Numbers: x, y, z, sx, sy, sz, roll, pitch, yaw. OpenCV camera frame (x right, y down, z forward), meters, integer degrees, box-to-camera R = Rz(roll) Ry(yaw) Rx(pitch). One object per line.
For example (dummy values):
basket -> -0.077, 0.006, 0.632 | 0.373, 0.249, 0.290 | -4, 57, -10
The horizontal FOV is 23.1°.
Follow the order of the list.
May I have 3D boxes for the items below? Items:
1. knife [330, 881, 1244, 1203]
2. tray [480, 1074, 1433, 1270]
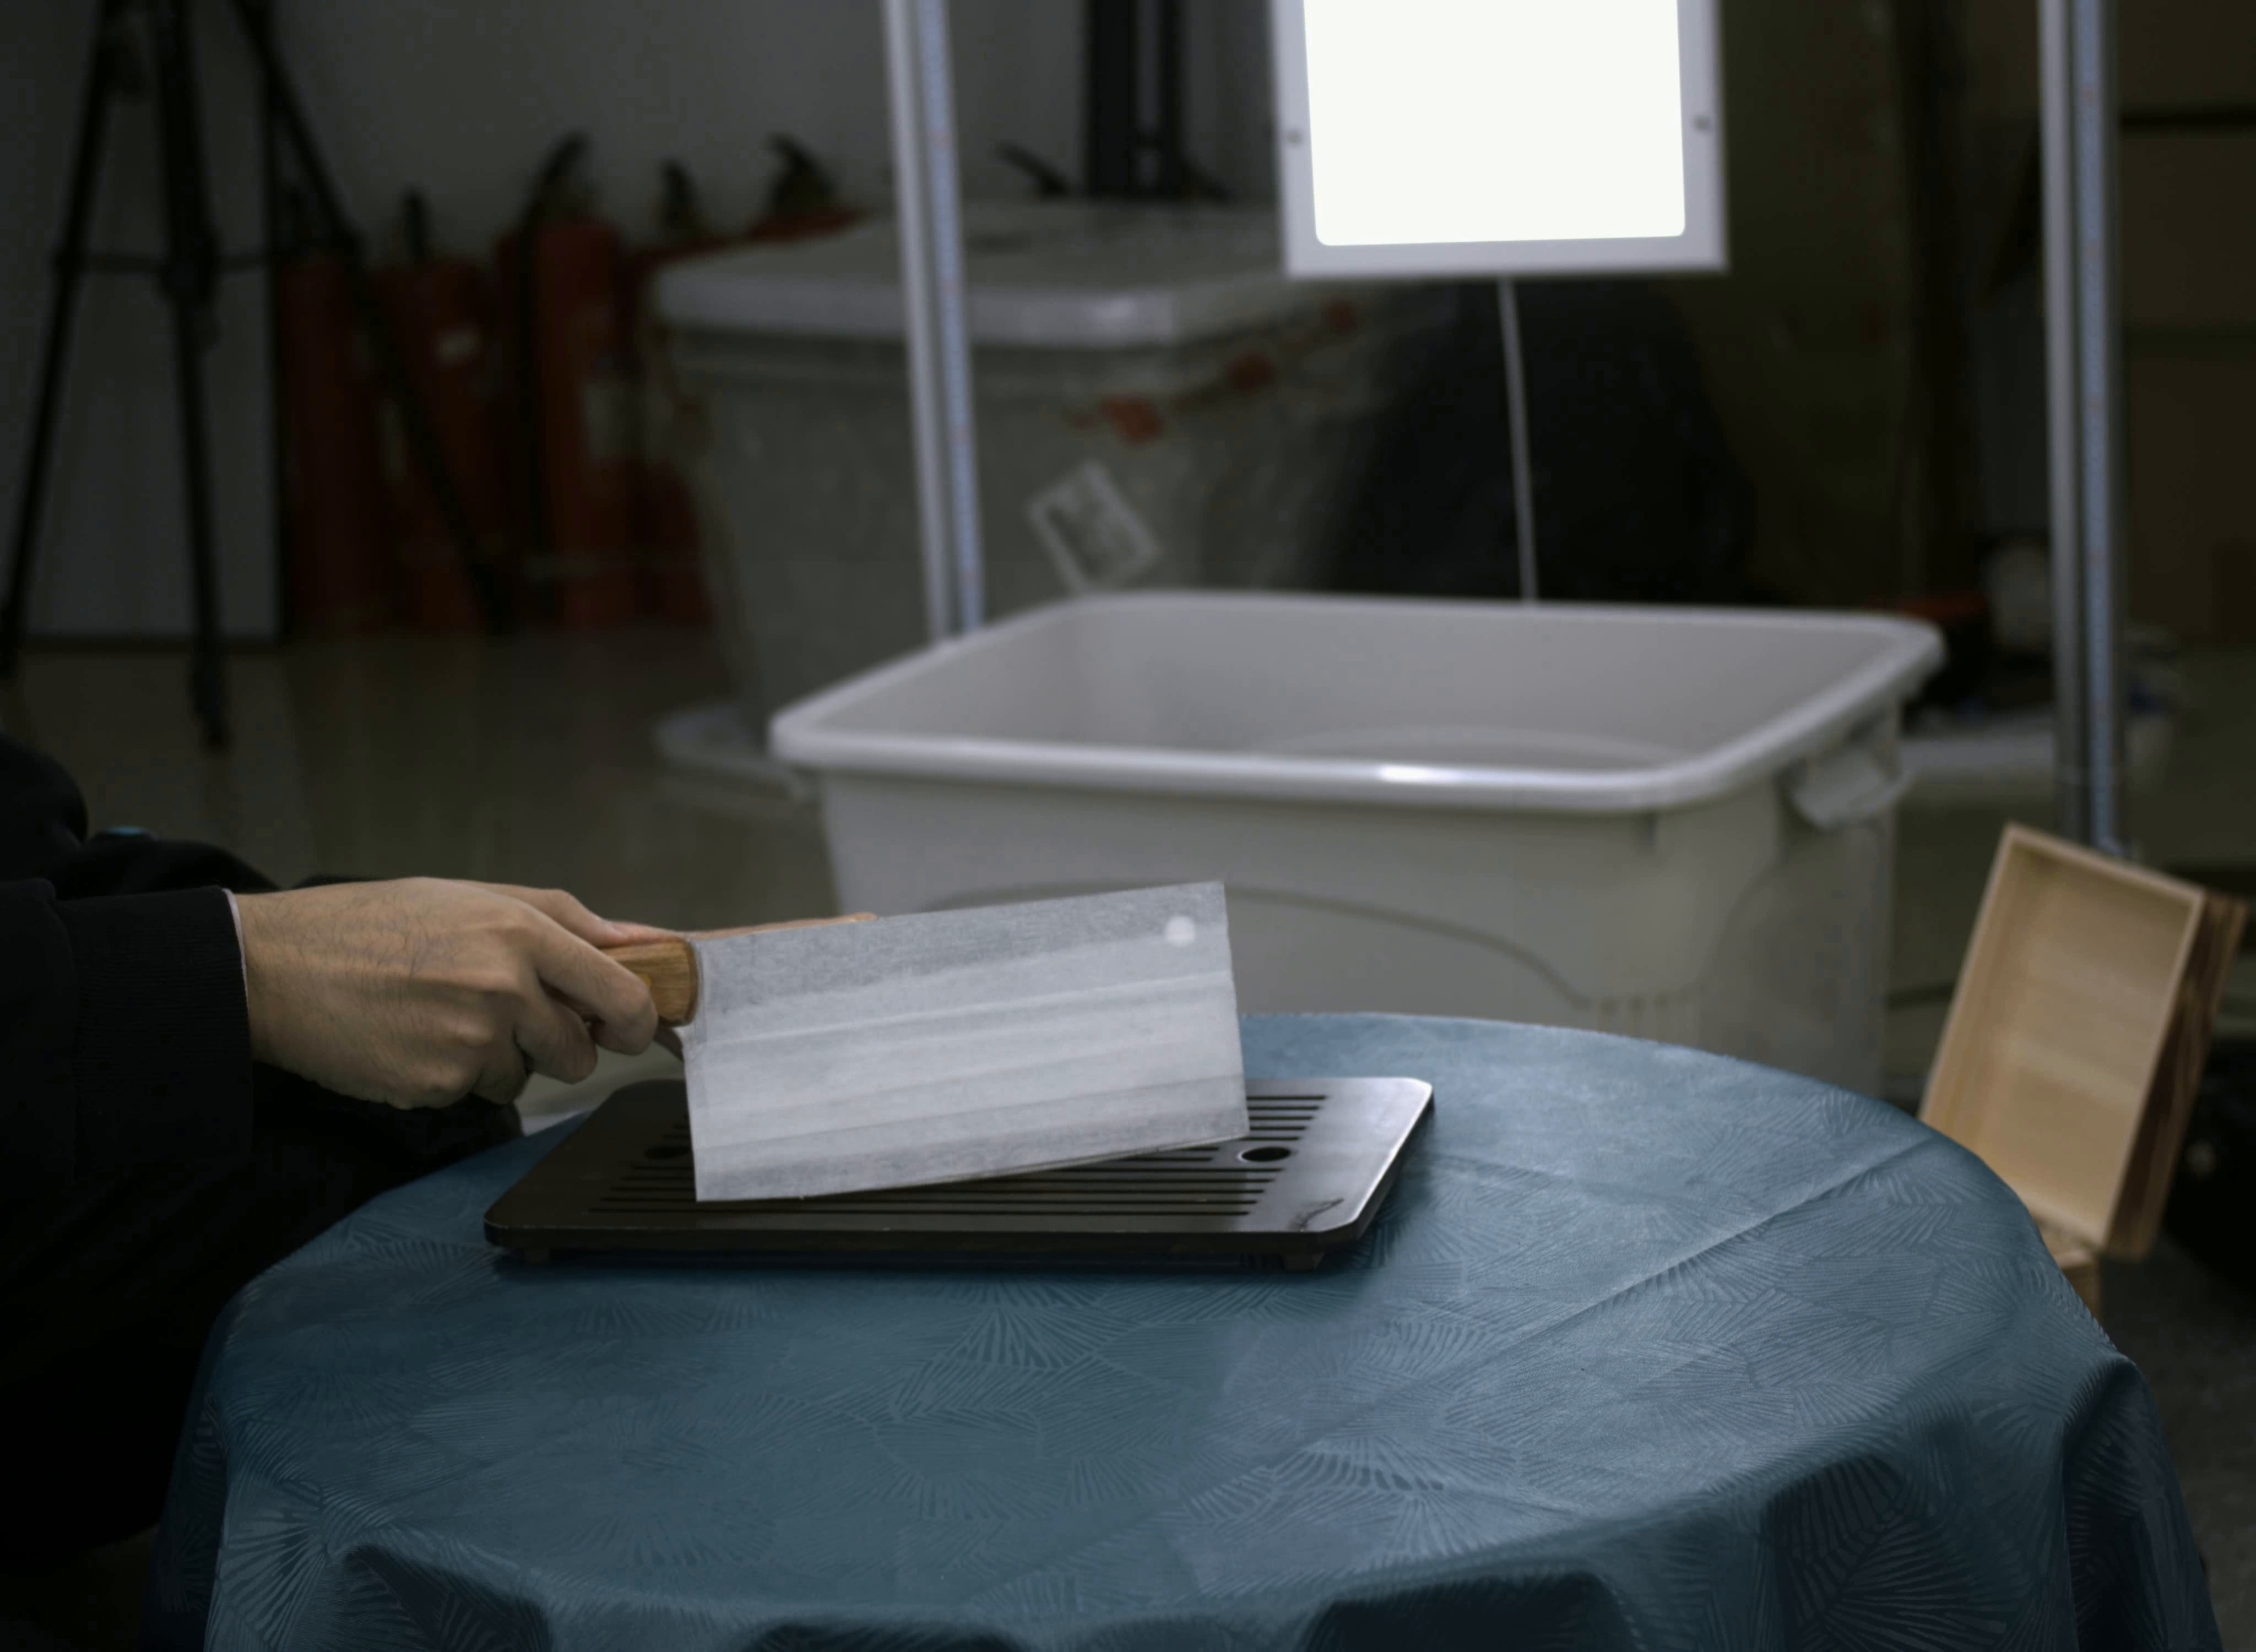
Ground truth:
knife -> -0.113, 0.078, 1.859 | 0.304, 0.093, 0.021 | -6, 4, -2
tray -> -0.056, 0.119, 1.908 | 0.309, 0.019, 0.167 | -1, 15, 16
